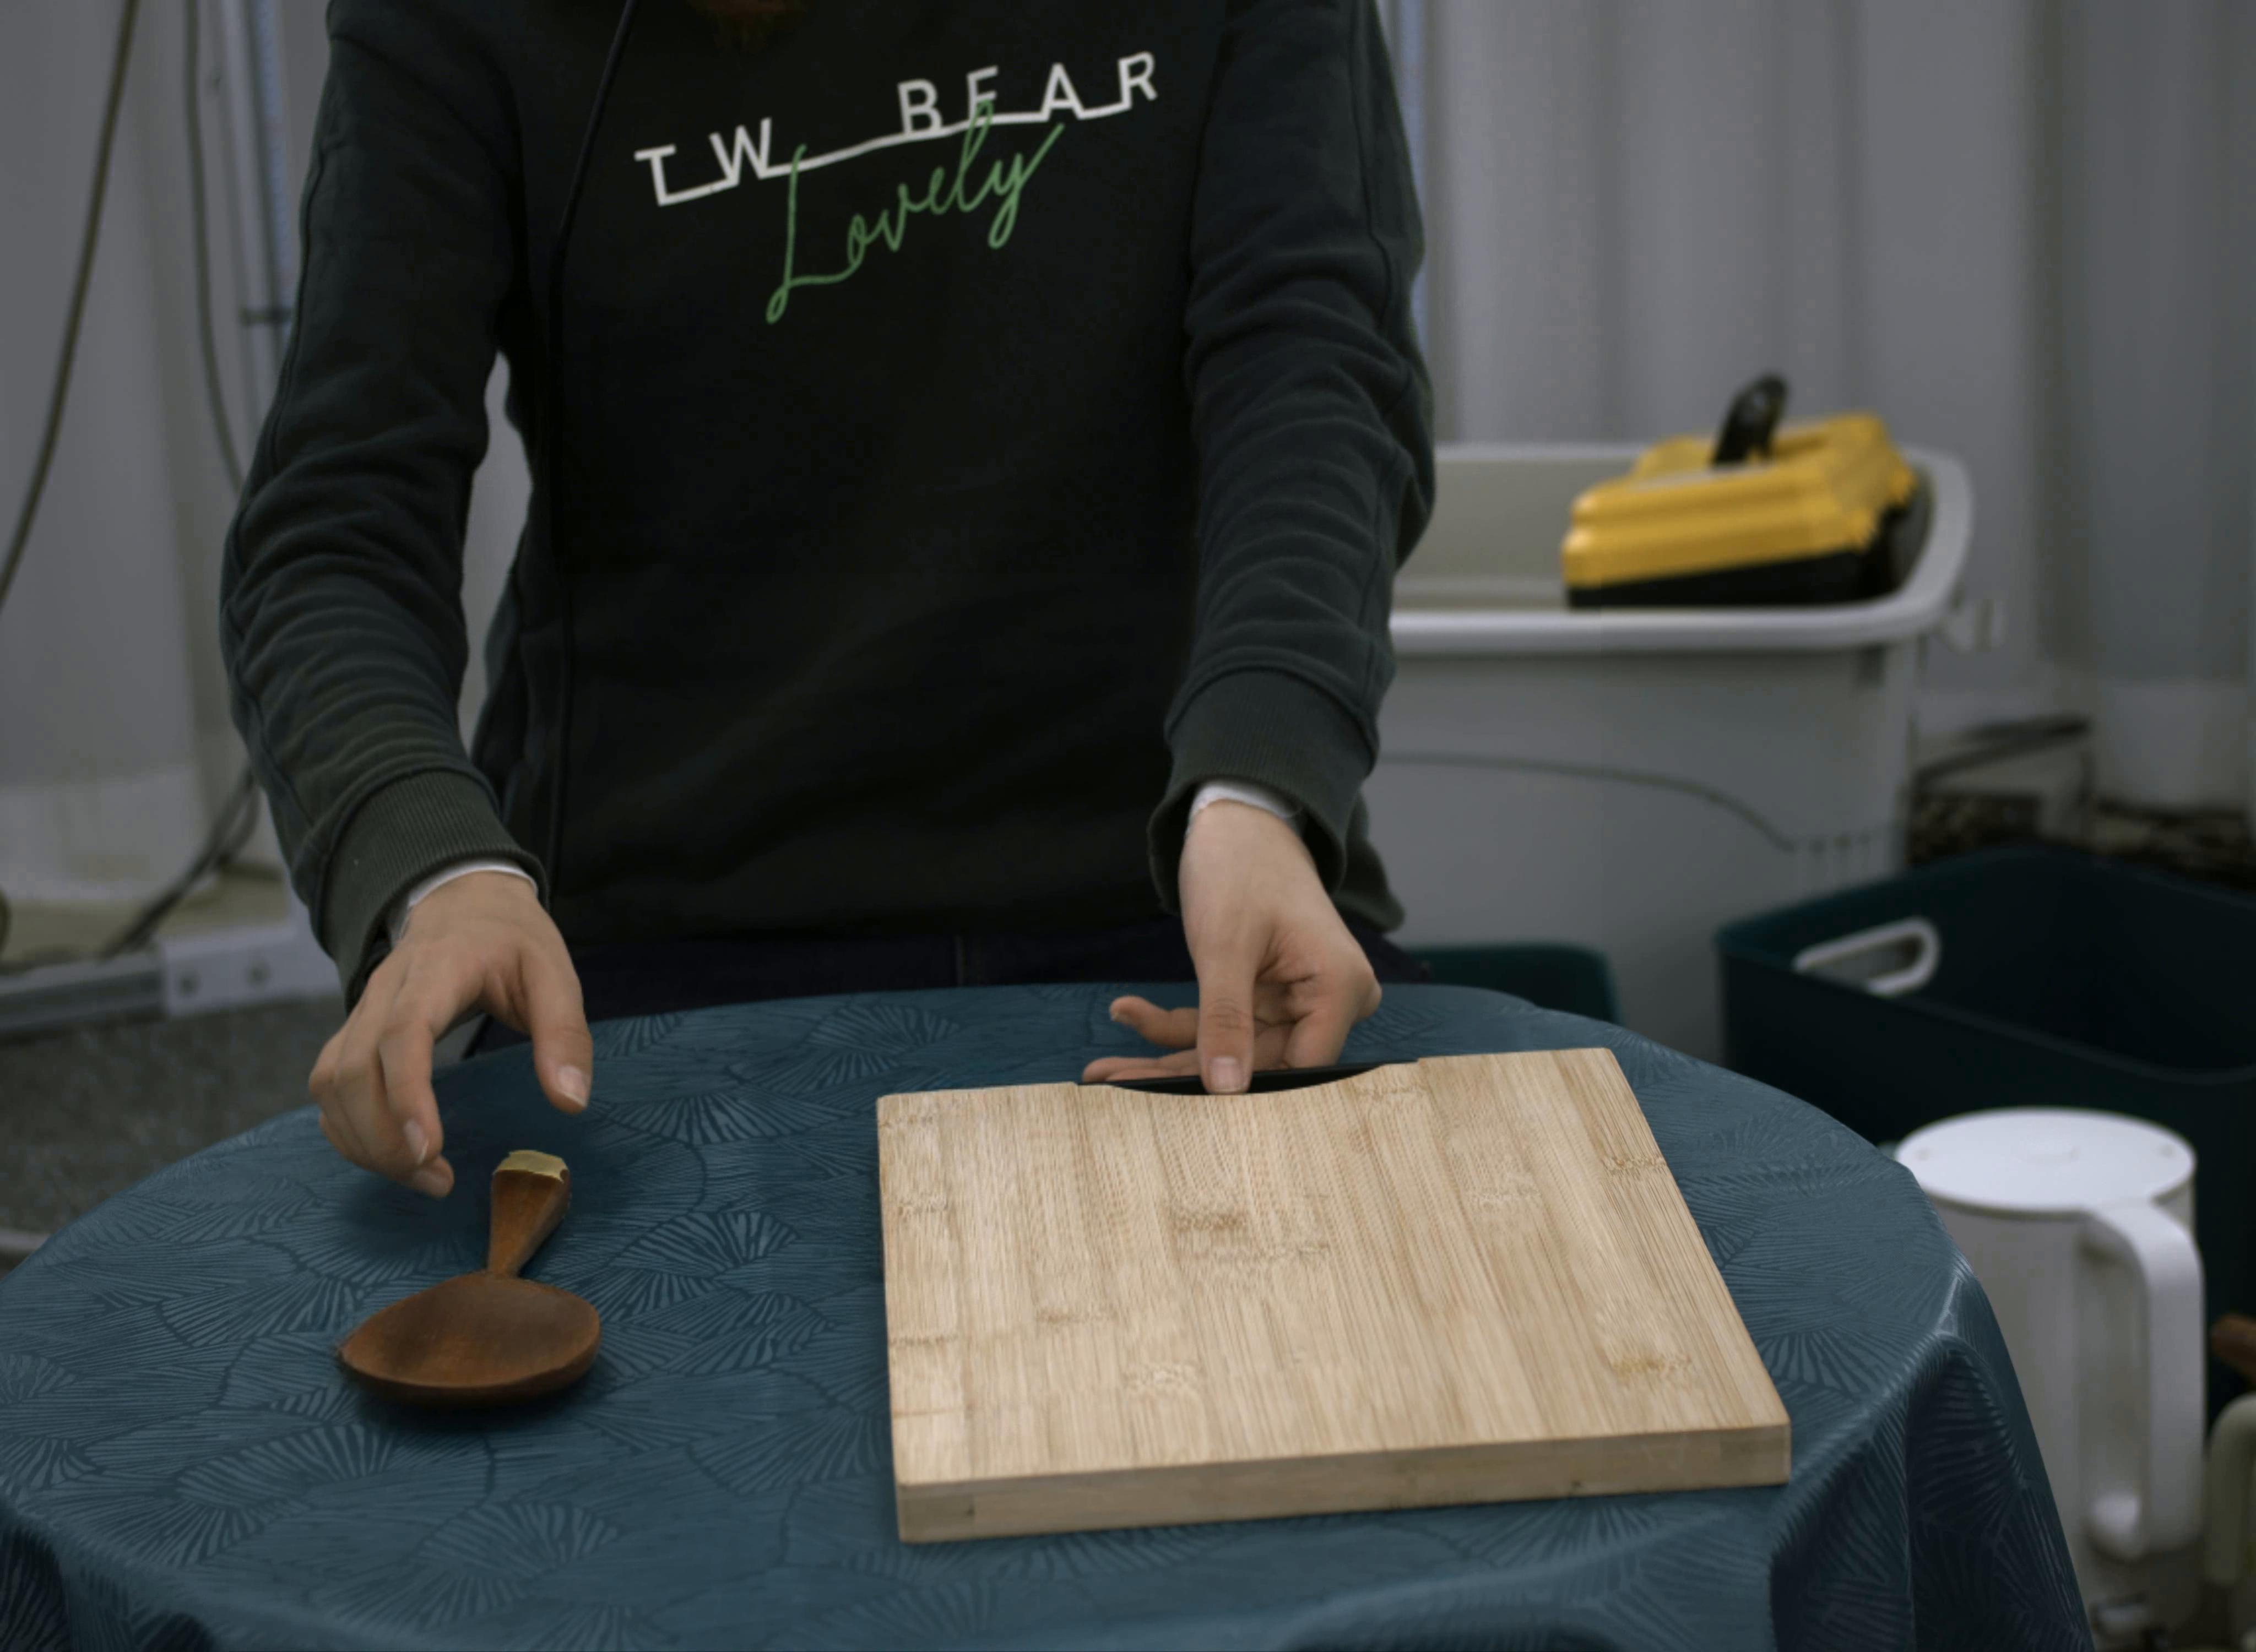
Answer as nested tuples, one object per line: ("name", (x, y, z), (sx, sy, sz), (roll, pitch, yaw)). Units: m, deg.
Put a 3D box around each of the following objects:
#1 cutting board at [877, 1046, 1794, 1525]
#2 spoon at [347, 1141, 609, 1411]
("cutting board", (0.048, 0.130, 1.616), (0.250, 0.023, 0.351), (-3, 15, -3))
("spoon", (-0.187, 0.136, 1.637), (0.075, 0.017, 0.217), (-4, 15, 1))
